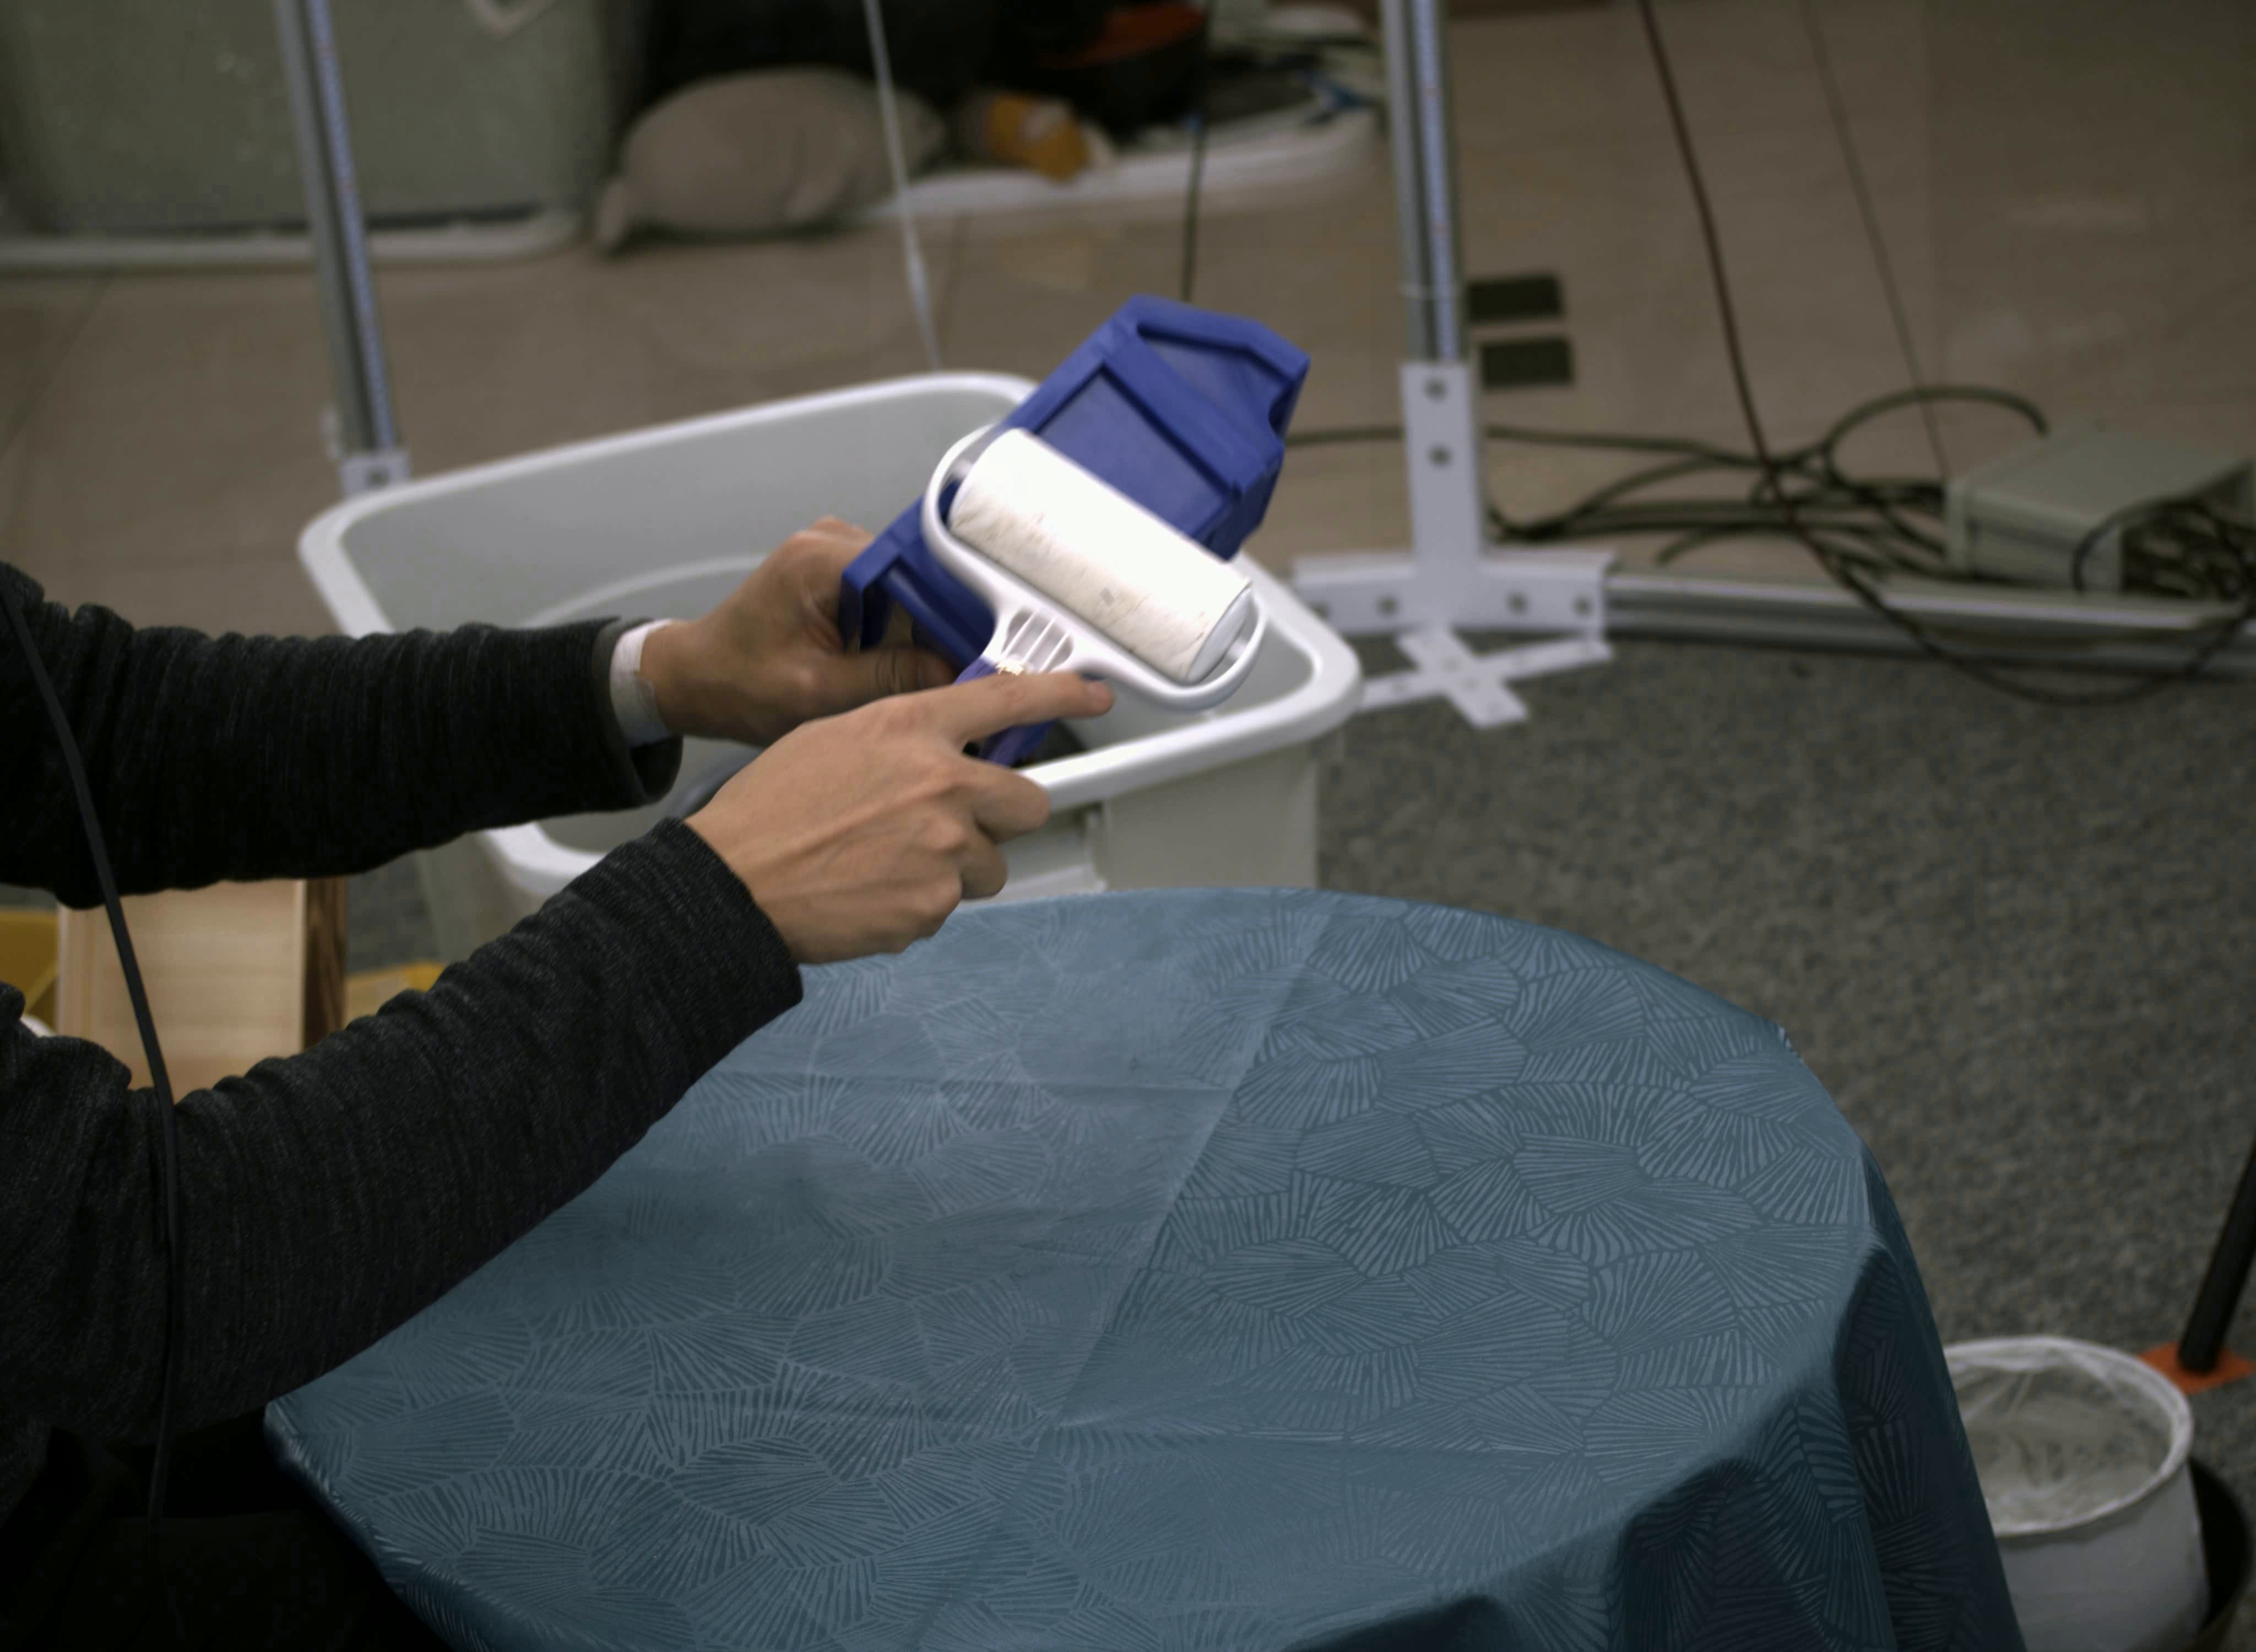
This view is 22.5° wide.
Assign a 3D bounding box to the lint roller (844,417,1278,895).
[{"bbox_3d":[-0.043,-0.052,1.968,0.132,0.051,0.179,36,63,4],"label":"lint roller"}]

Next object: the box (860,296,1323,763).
[{"bbox_3d":[-0.009,-0.112,2.093,0.178,0.081,0.125,-46,-6,-9],"label":"box"}]
